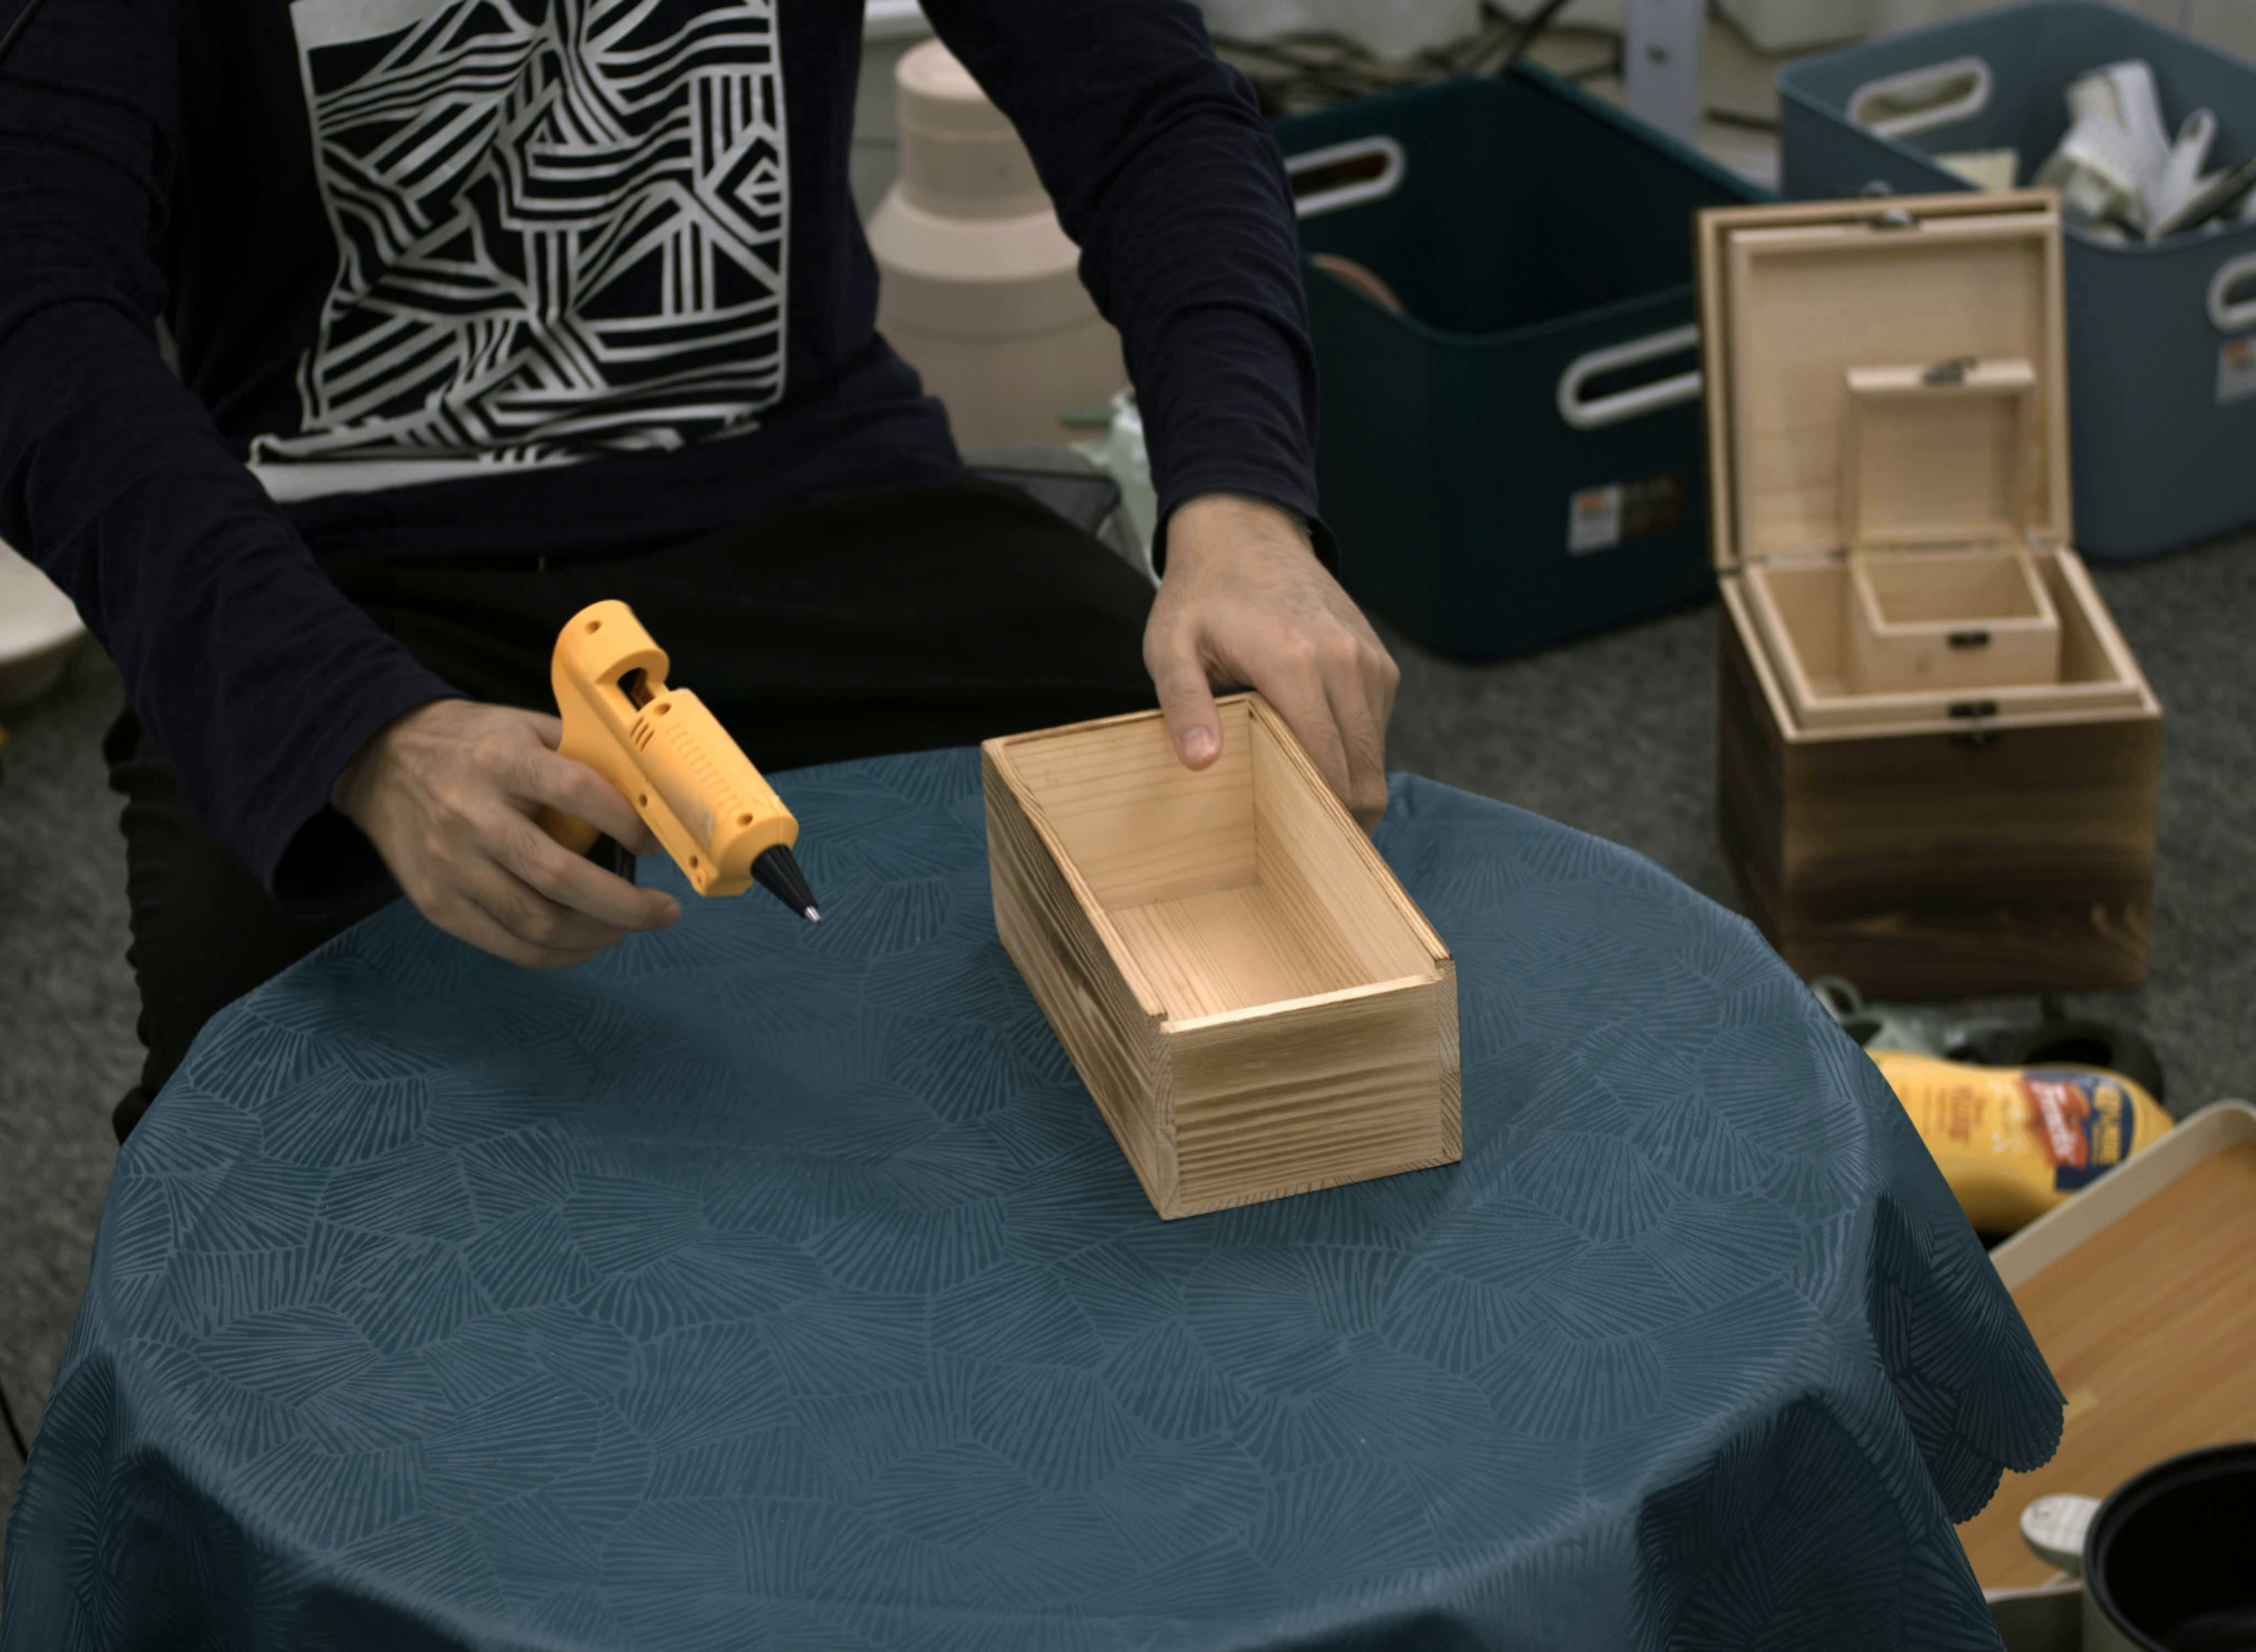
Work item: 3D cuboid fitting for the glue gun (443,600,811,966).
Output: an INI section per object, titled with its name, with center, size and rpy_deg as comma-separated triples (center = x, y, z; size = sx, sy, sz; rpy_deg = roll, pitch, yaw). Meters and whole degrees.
[glue gun]
center = -0.165, 0.018, 1.895
size = 0.031, 0.132, 0.152
rpy_deg = 9, 29, -47

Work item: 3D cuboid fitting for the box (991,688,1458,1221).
[box]
center = 0.030, 0.040, 1.934
size = 0.107, 0.079, 0.213
rpy_deg = -10, 29, -13
